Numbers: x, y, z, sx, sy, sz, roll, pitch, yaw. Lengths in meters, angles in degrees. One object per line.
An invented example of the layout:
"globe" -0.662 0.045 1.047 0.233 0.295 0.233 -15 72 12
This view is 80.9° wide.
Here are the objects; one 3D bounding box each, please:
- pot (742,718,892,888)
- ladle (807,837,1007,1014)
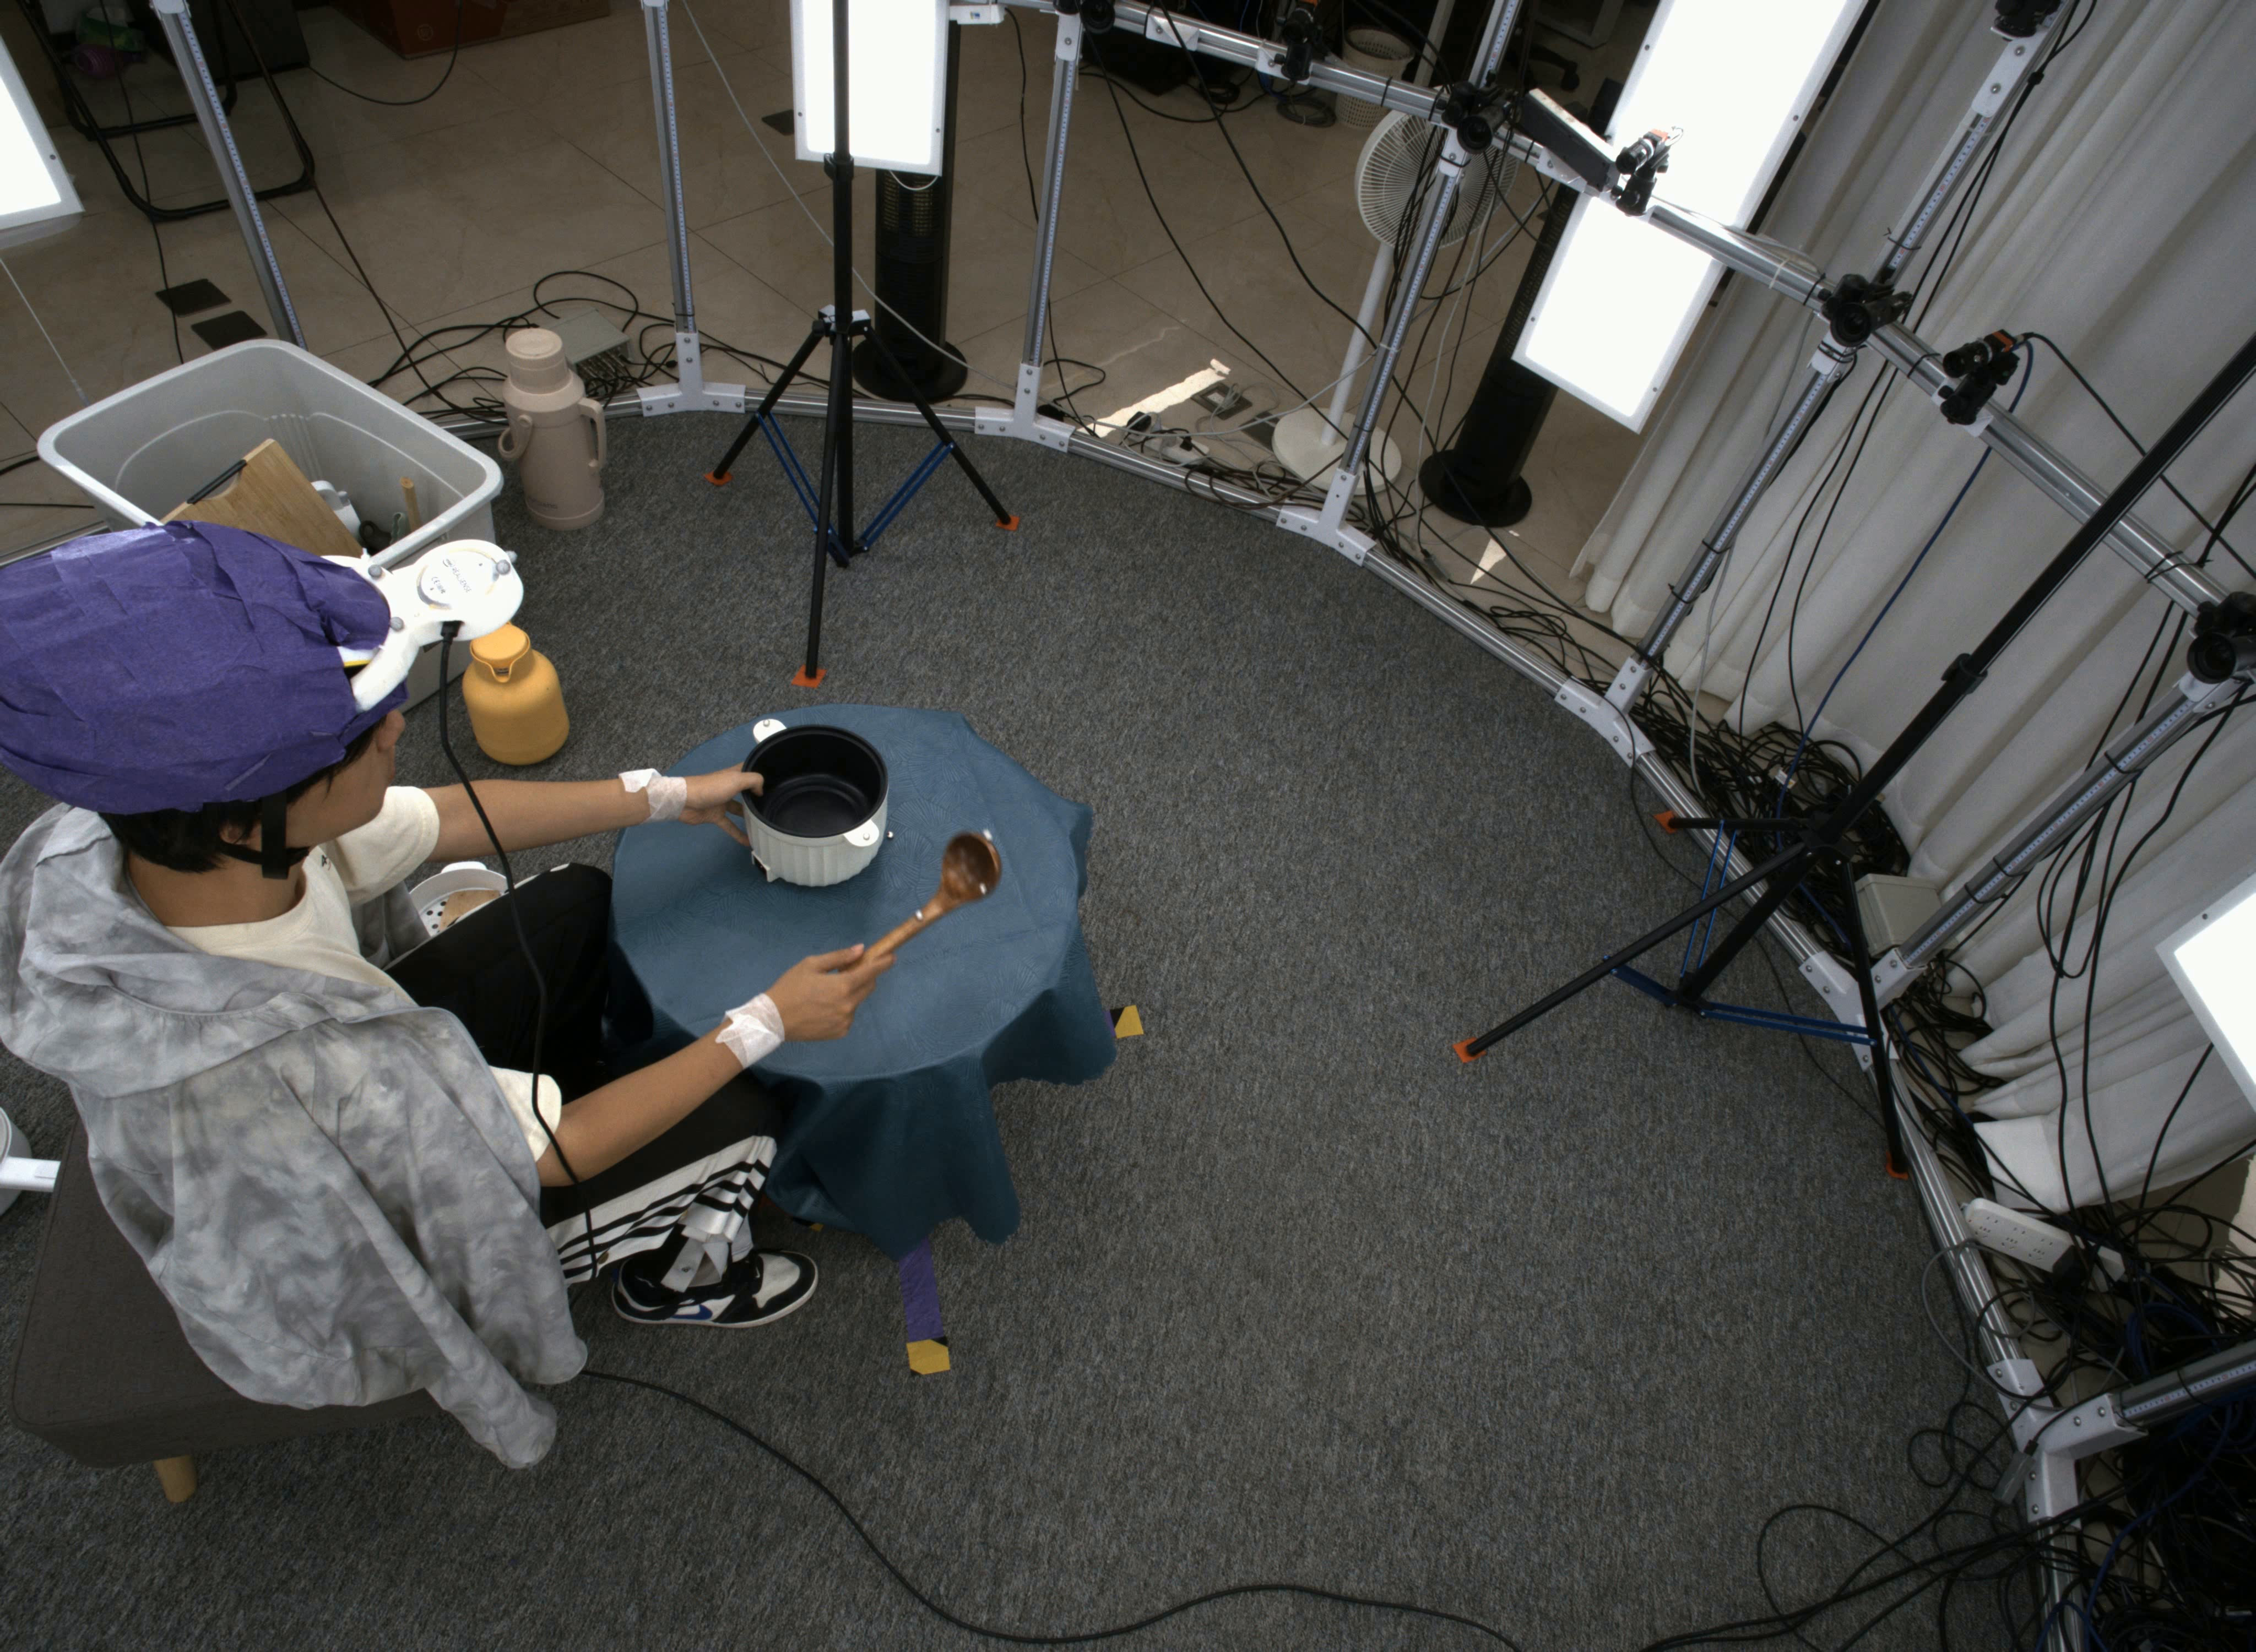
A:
"pot" -0.390 -0.023 1.662 0.191 0.145 0.235 -35 69 -28
"ladle" -0.250 0.109 1.474 0.274 0.079 0.079 -36 58 -27
